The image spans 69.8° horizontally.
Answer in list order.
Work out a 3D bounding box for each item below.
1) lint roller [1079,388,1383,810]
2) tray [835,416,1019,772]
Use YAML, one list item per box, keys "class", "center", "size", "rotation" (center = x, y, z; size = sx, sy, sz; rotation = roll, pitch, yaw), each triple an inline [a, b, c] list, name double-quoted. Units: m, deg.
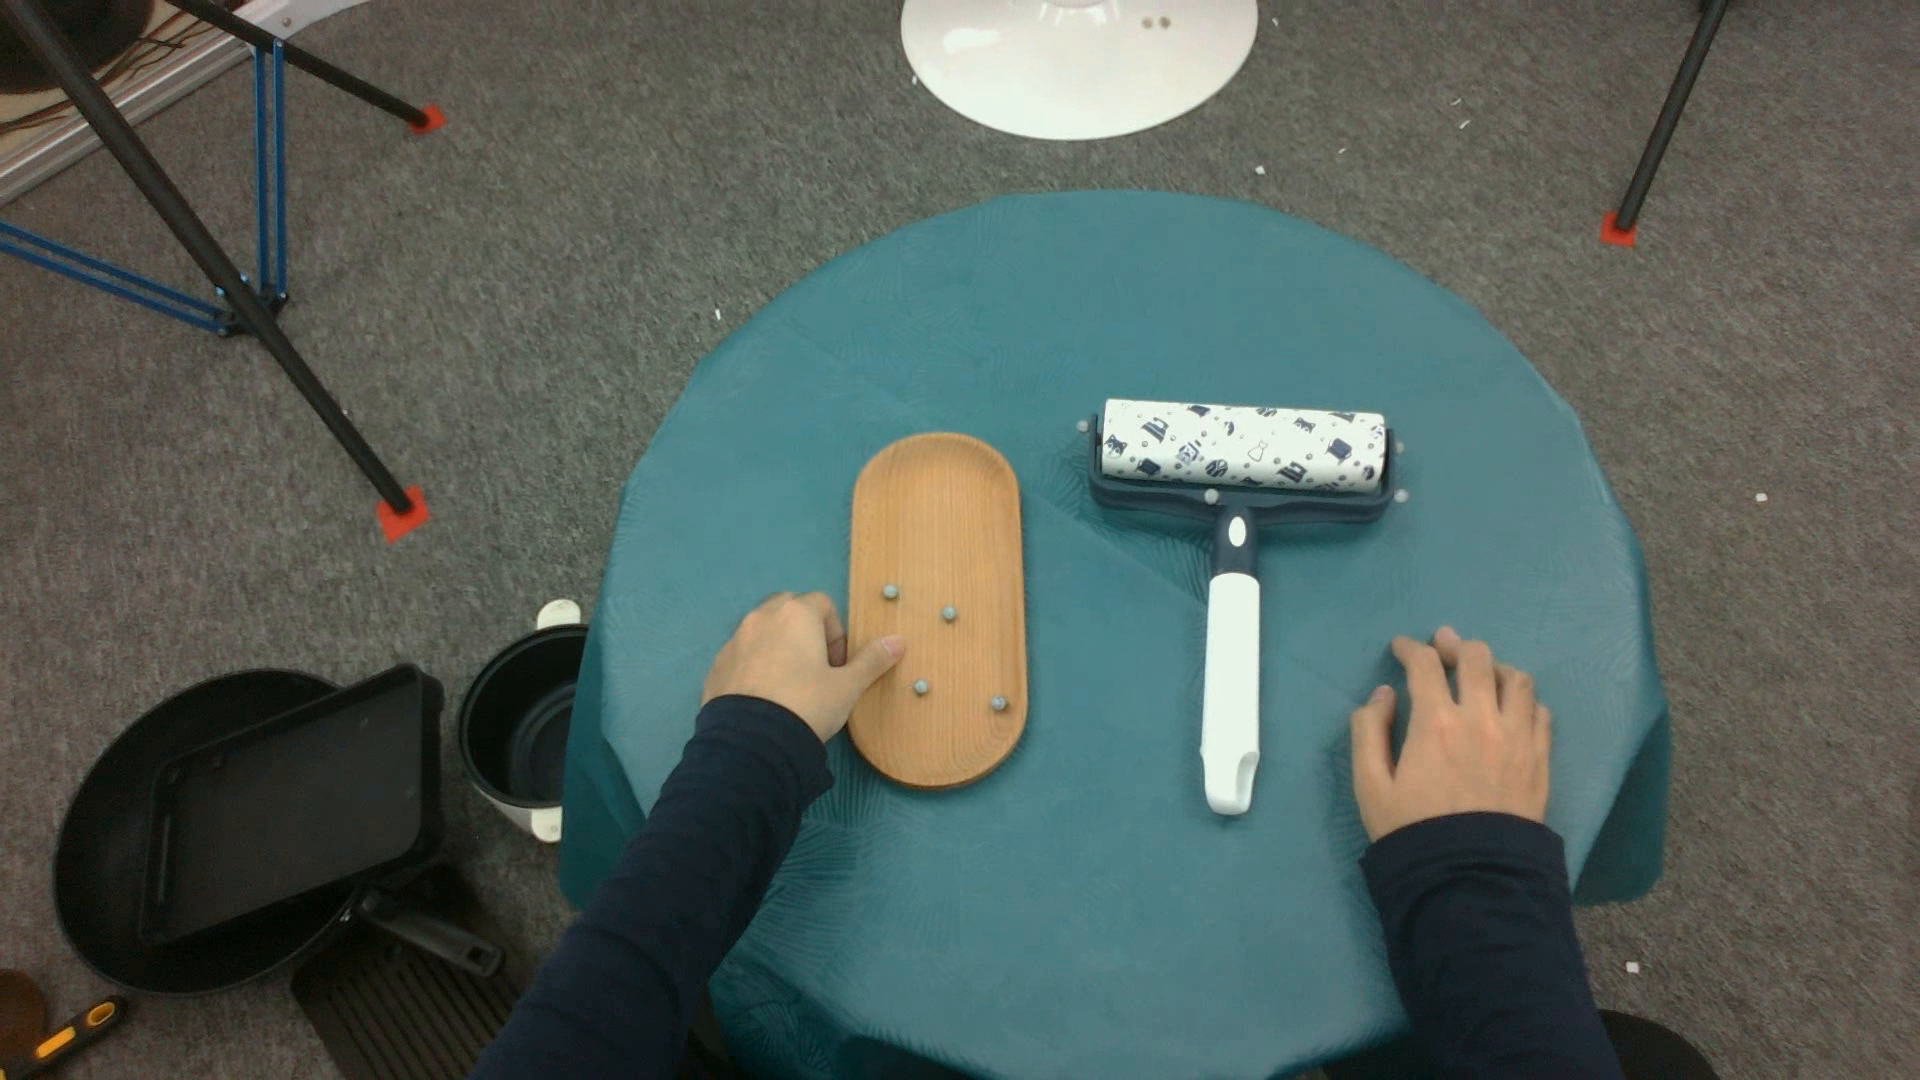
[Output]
- class: "lint roller"
  center: [0.149, 0.026, 0.767]
  size: [0.176, 0.050, 0.248]
  rotation: [4, 61, 5]
- class: "tray"
  center: [-0.021, 0.025, 0.792]
  size: [0.102, 0.020, 0.232]
  rotation: [-3, 57, -1]
